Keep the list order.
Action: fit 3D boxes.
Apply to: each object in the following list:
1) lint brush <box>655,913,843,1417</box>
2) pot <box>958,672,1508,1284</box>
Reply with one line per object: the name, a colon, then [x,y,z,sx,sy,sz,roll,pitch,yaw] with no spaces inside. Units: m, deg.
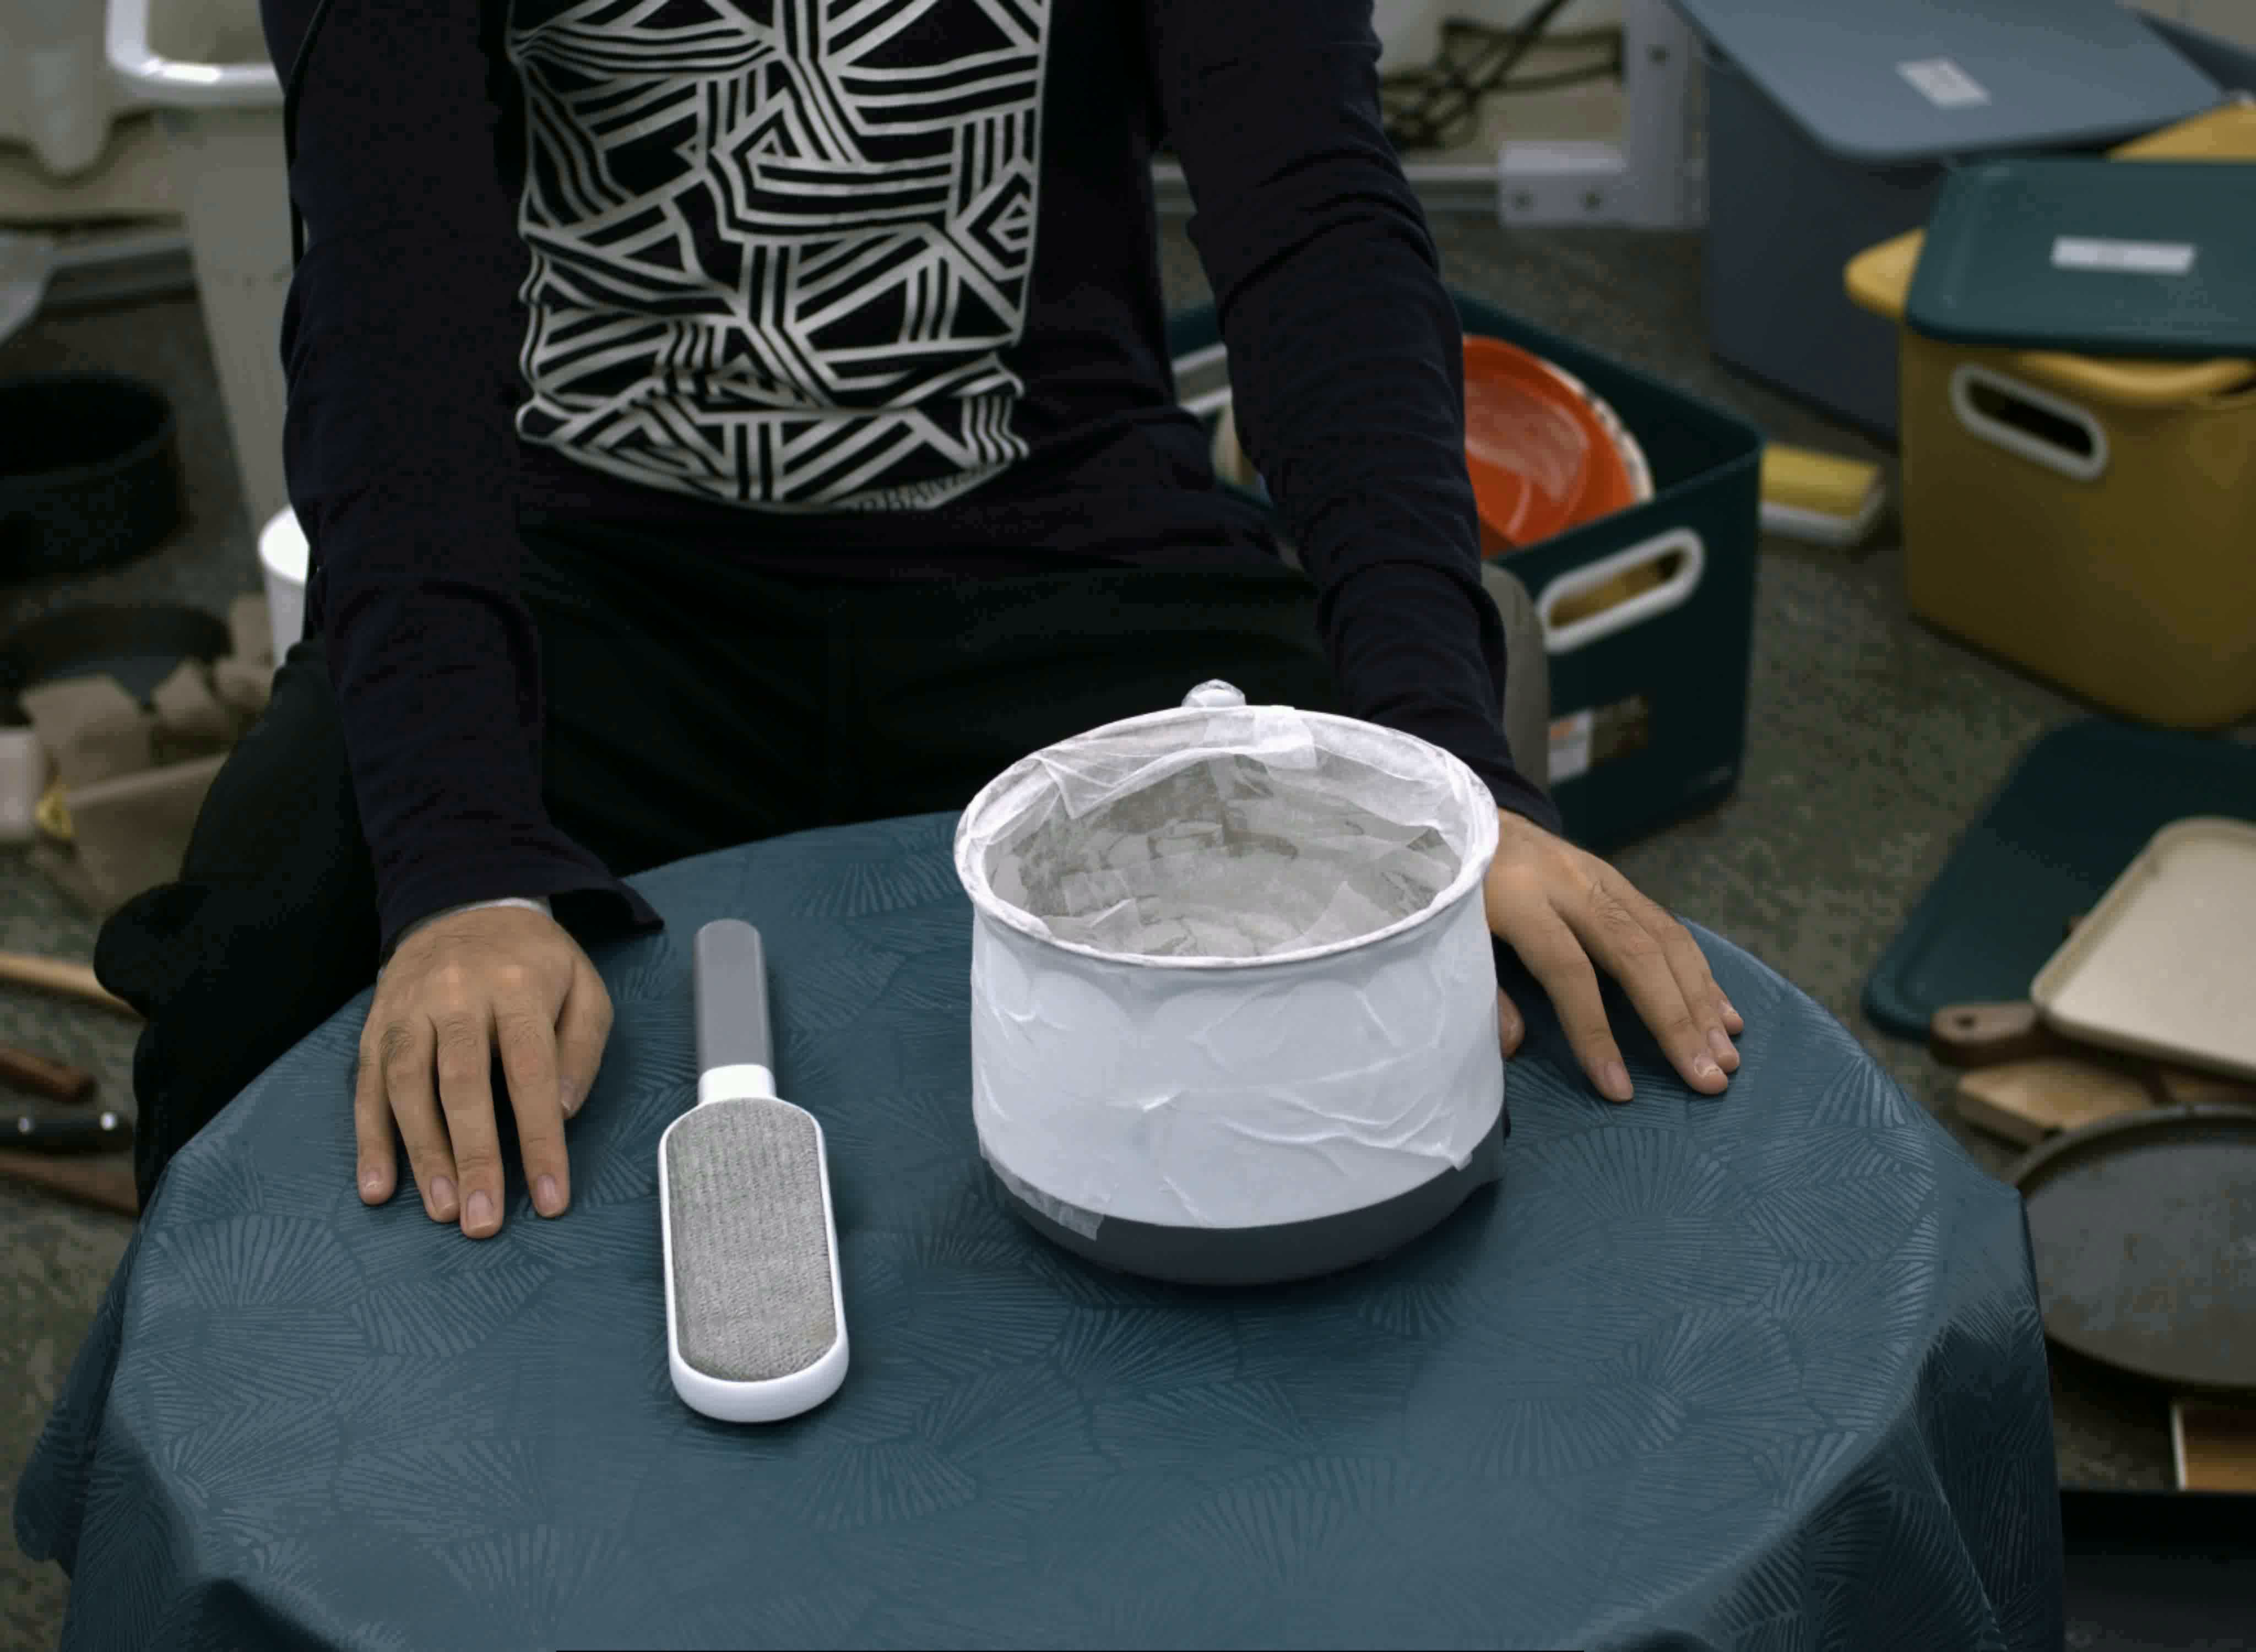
lint brush: [-0.128,0.108,1.872,0.060,0.021,0.313,-10,27,-1]
pot: [0.034,0.043,1.861,0.178,0.135,0.237,-2,27,-2]
